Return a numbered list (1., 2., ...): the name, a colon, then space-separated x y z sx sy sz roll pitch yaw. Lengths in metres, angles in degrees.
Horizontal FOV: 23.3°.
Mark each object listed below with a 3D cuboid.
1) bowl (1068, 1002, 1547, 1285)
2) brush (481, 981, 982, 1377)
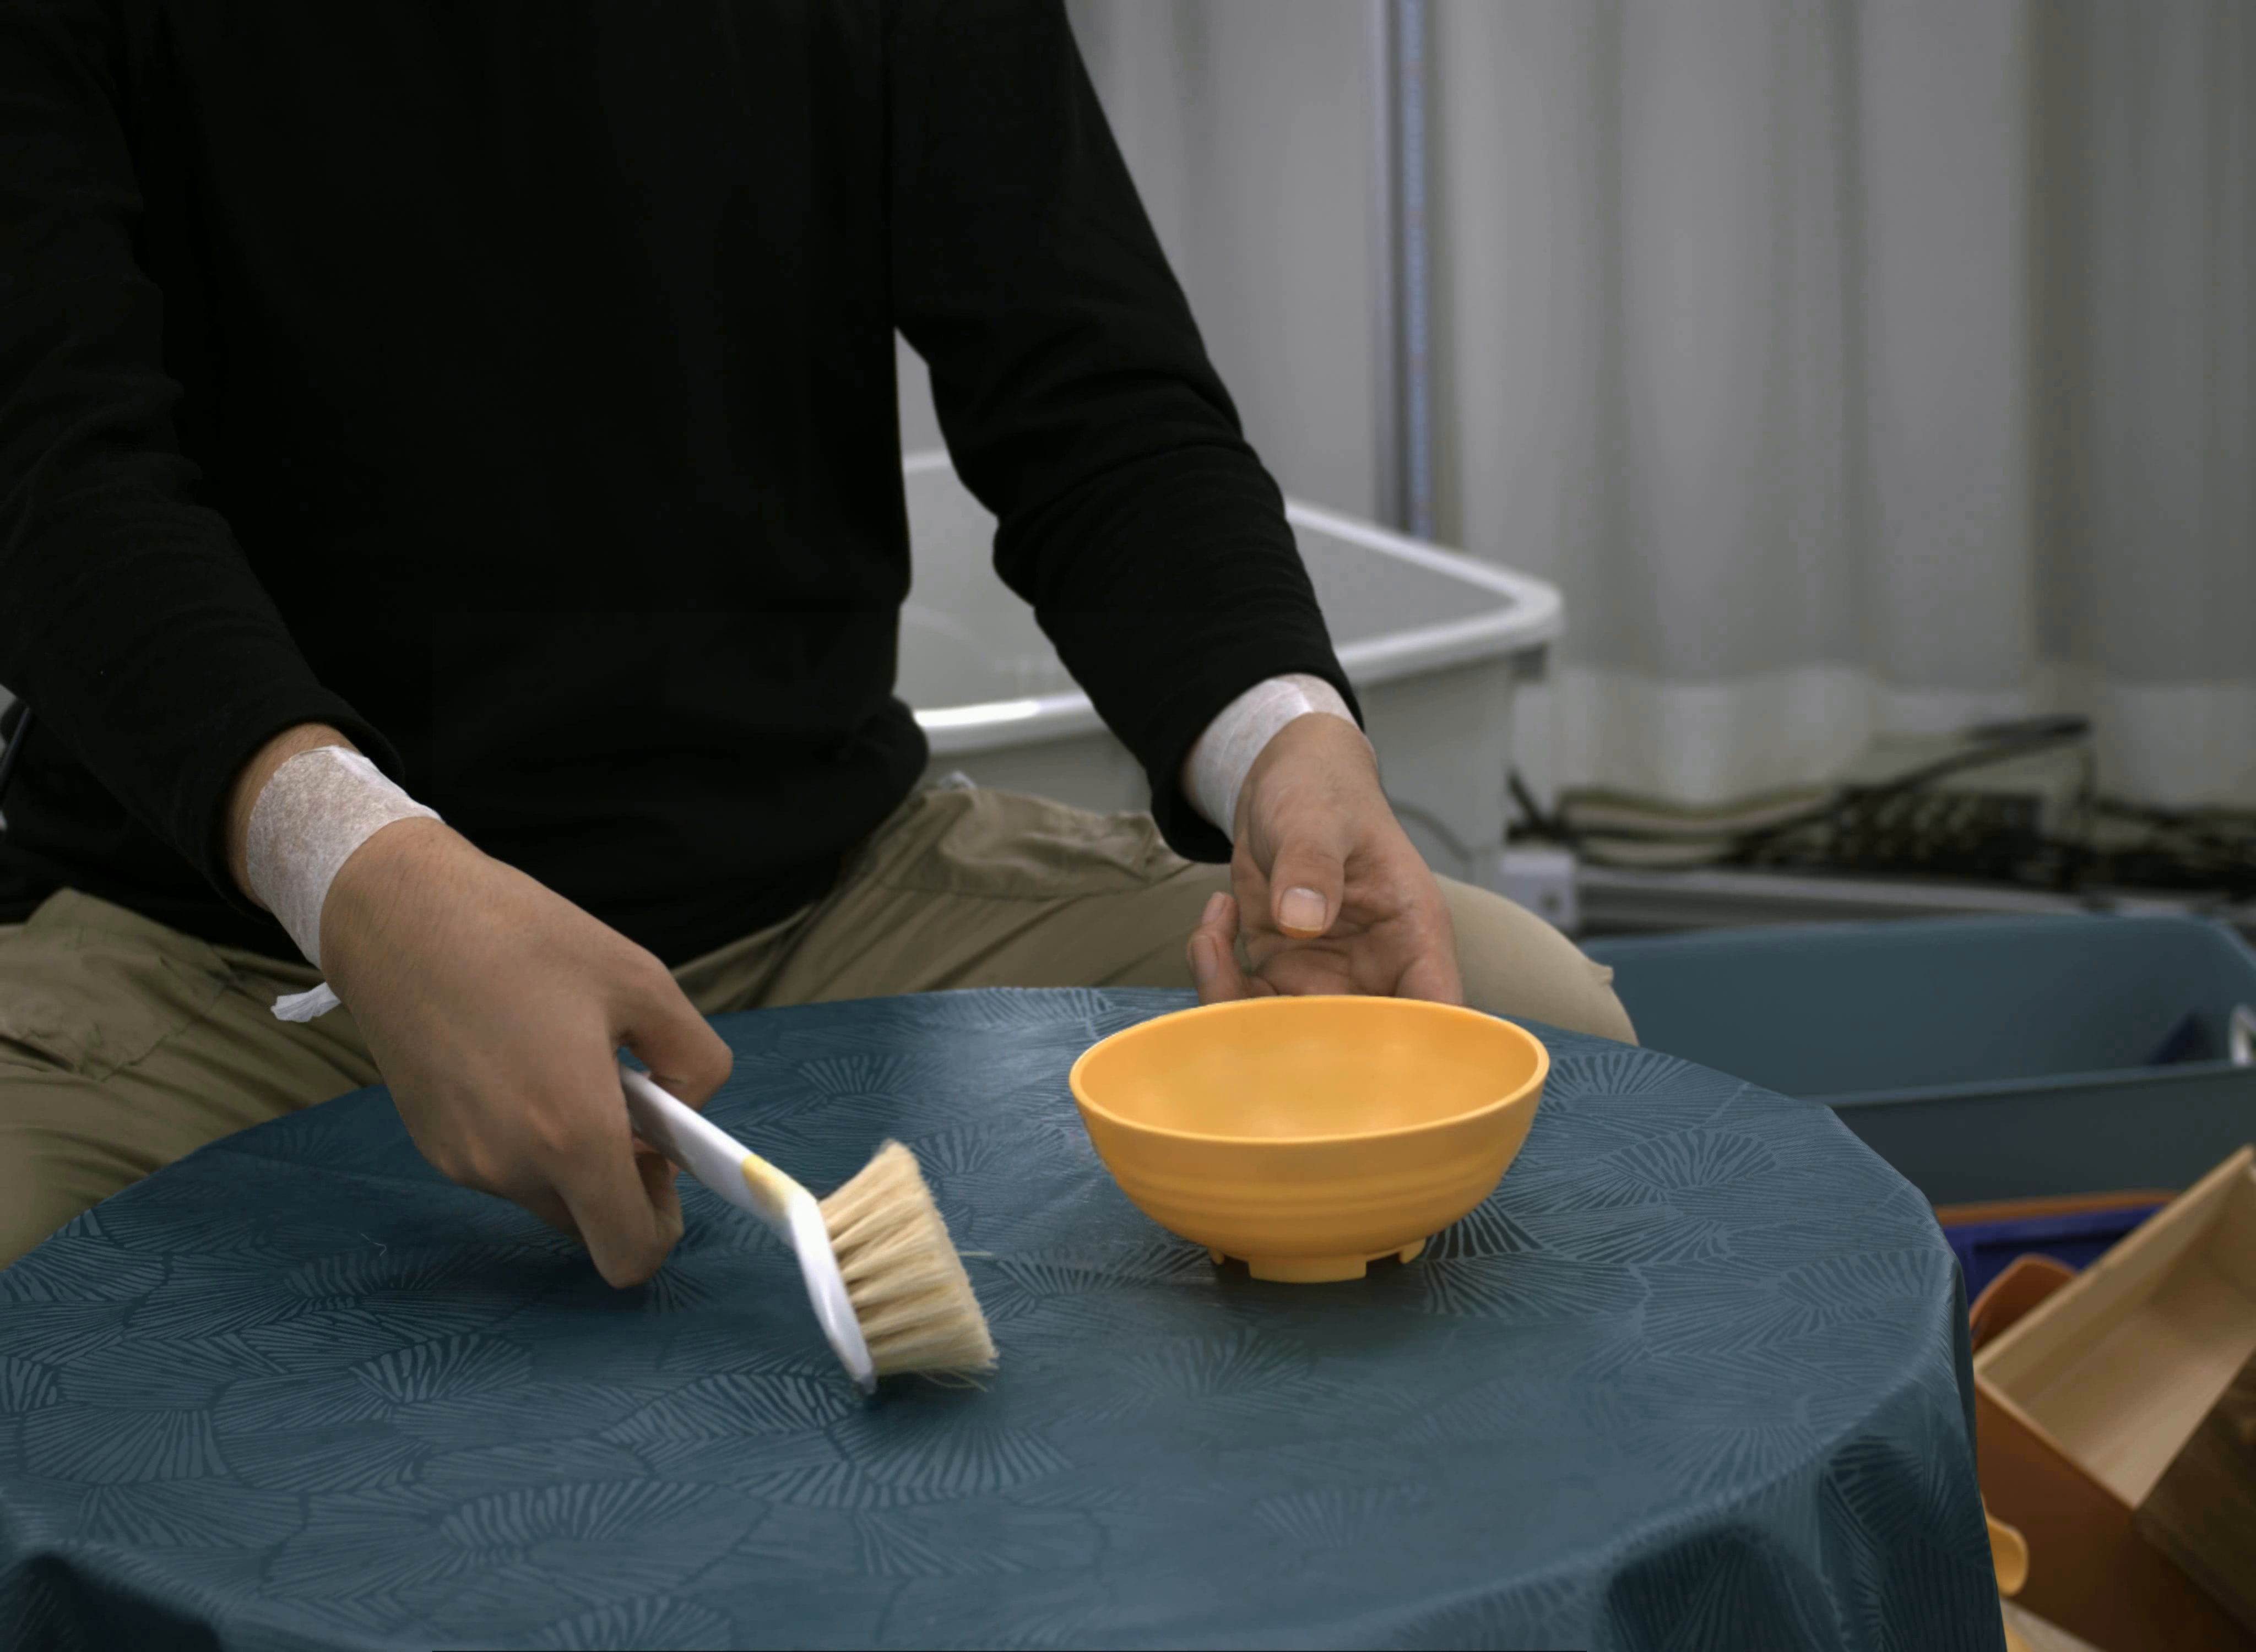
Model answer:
1. bowl: 0.054 0.100 1.646 0.145 0.060 0.146 -2 13 0
2. brush: -0.117 0.090 1.627 0.056 0.068 0.269 -26 30 -20
